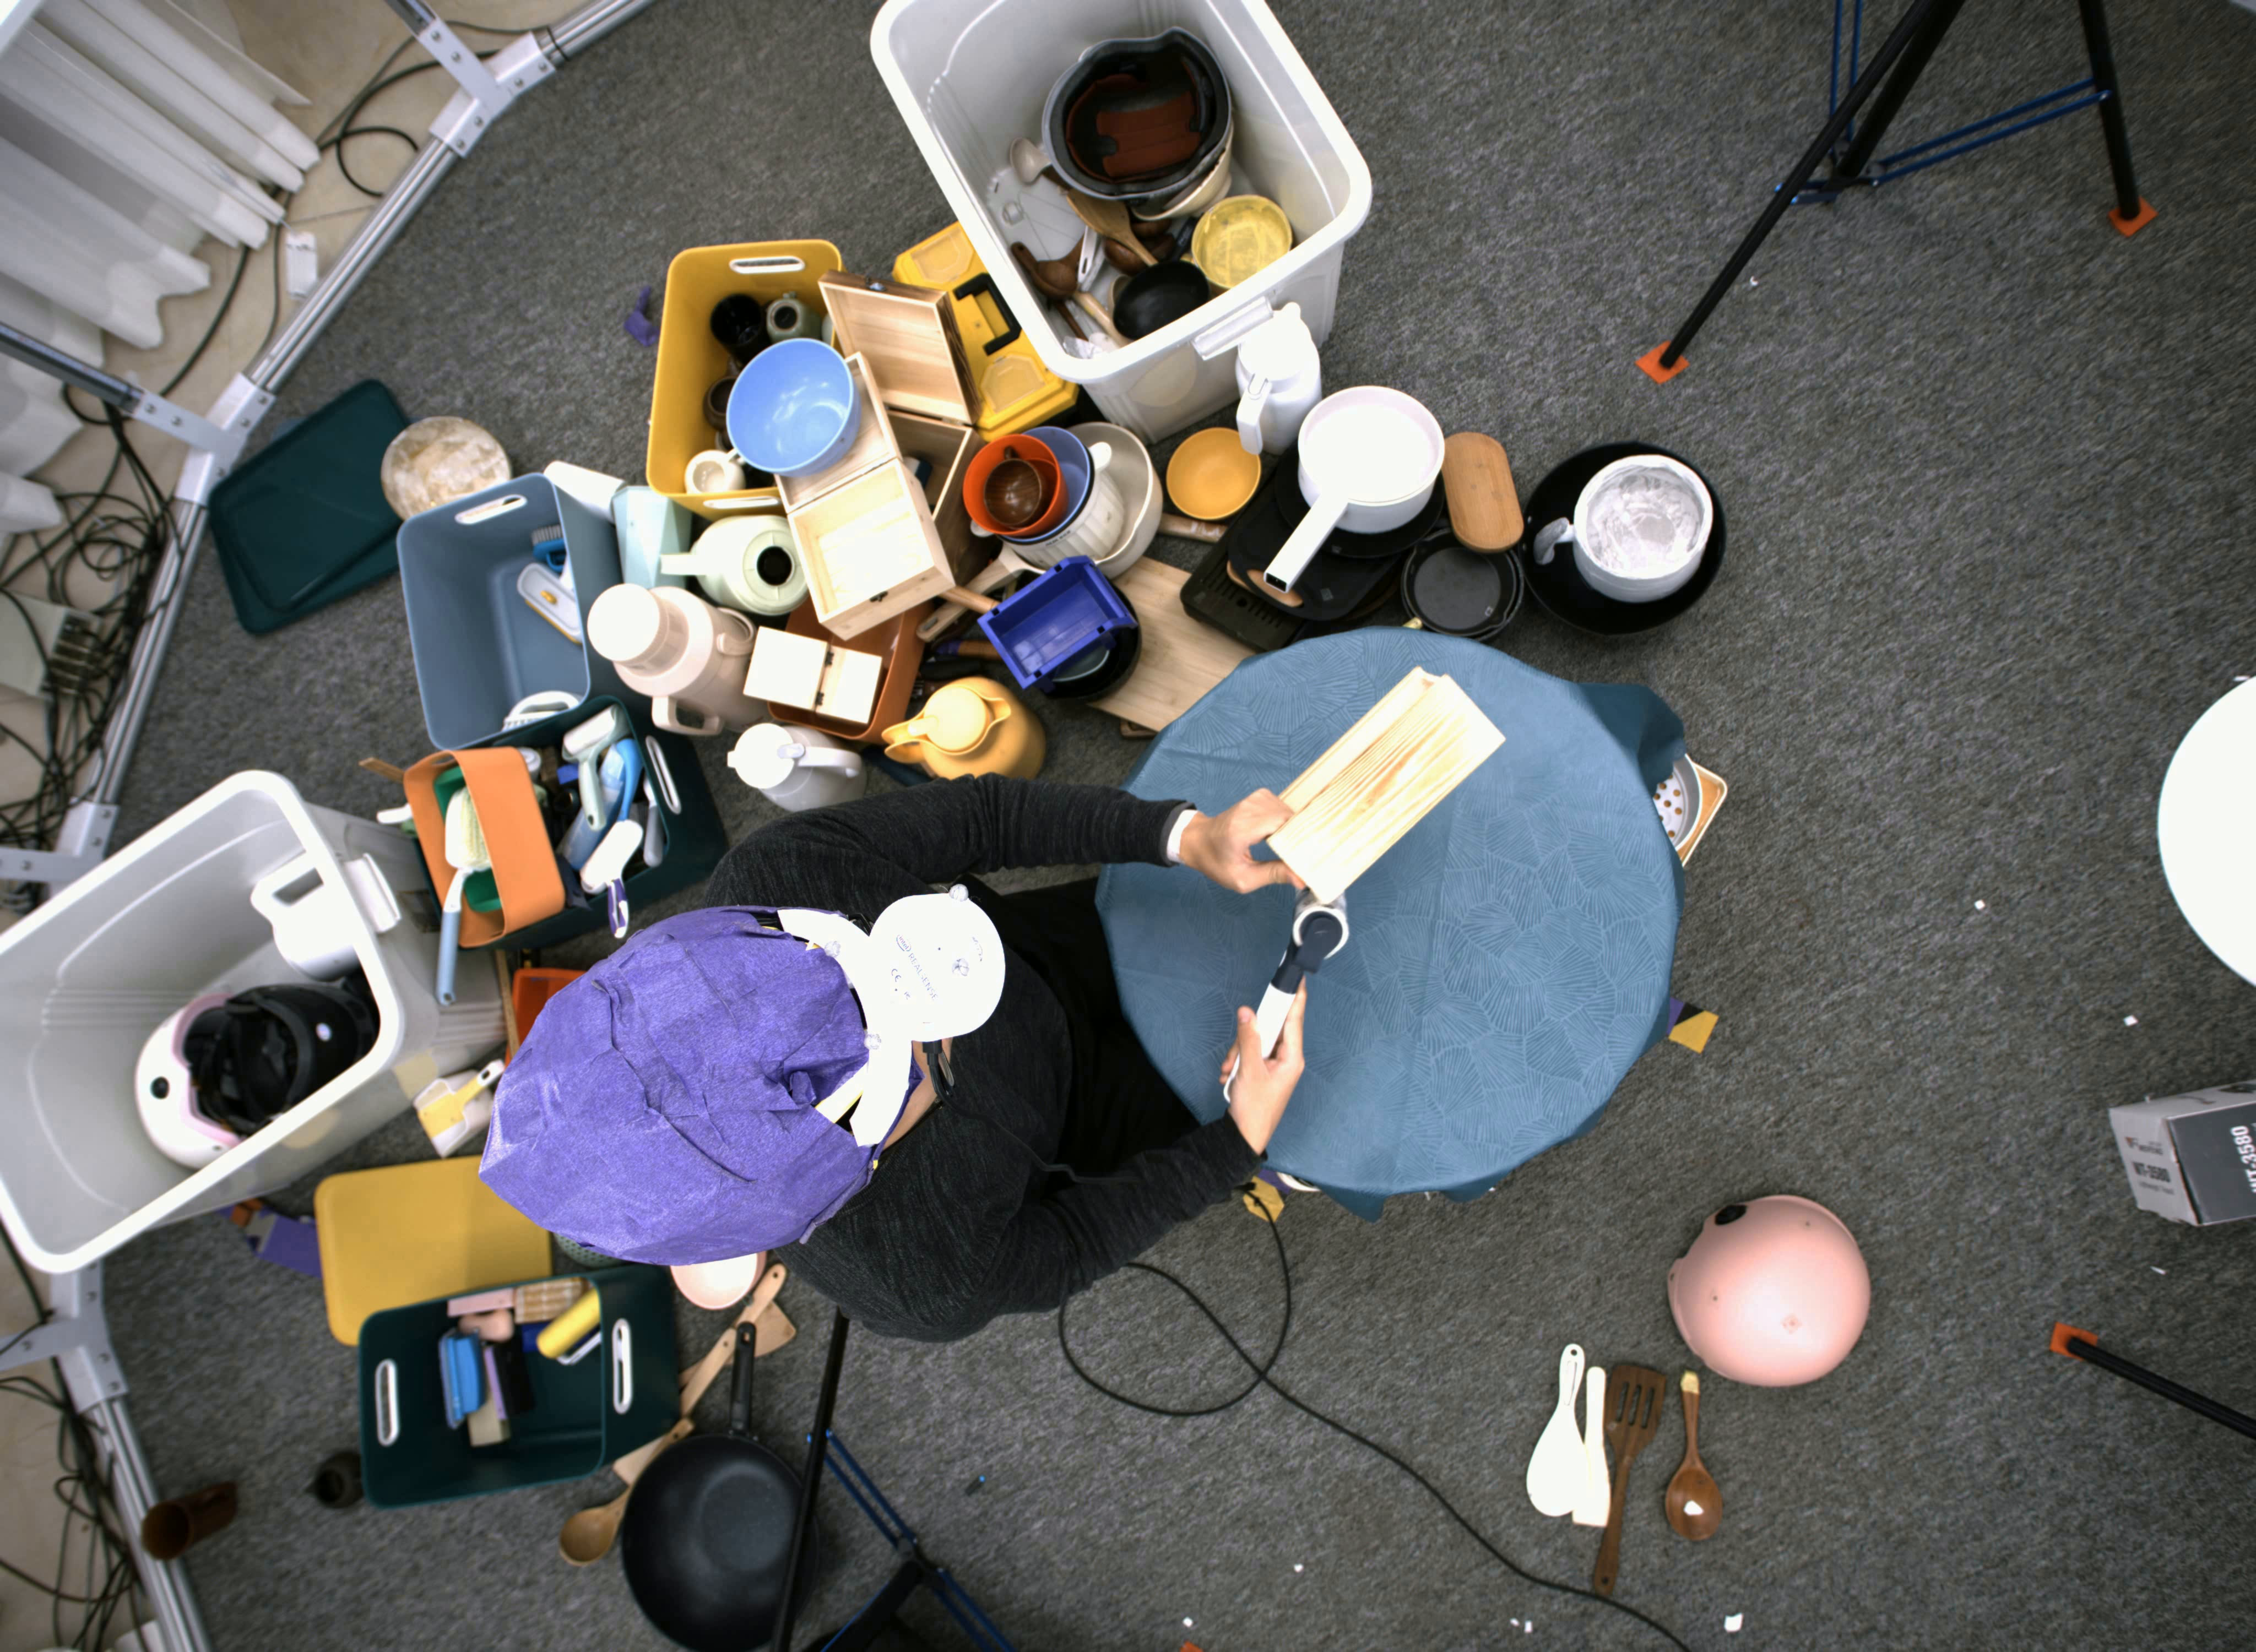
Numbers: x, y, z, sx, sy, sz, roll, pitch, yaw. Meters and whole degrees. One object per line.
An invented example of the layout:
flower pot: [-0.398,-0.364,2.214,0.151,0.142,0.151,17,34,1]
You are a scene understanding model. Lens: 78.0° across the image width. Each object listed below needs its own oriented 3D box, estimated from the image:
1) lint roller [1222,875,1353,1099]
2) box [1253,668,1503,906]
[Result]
lint roller: [0.153,0.161,1.348,0.050,0.173,0.251,19,110,0]
box: [0.219,-0.039,1.235,0.213,0.106,0.080,-44,99,9]
